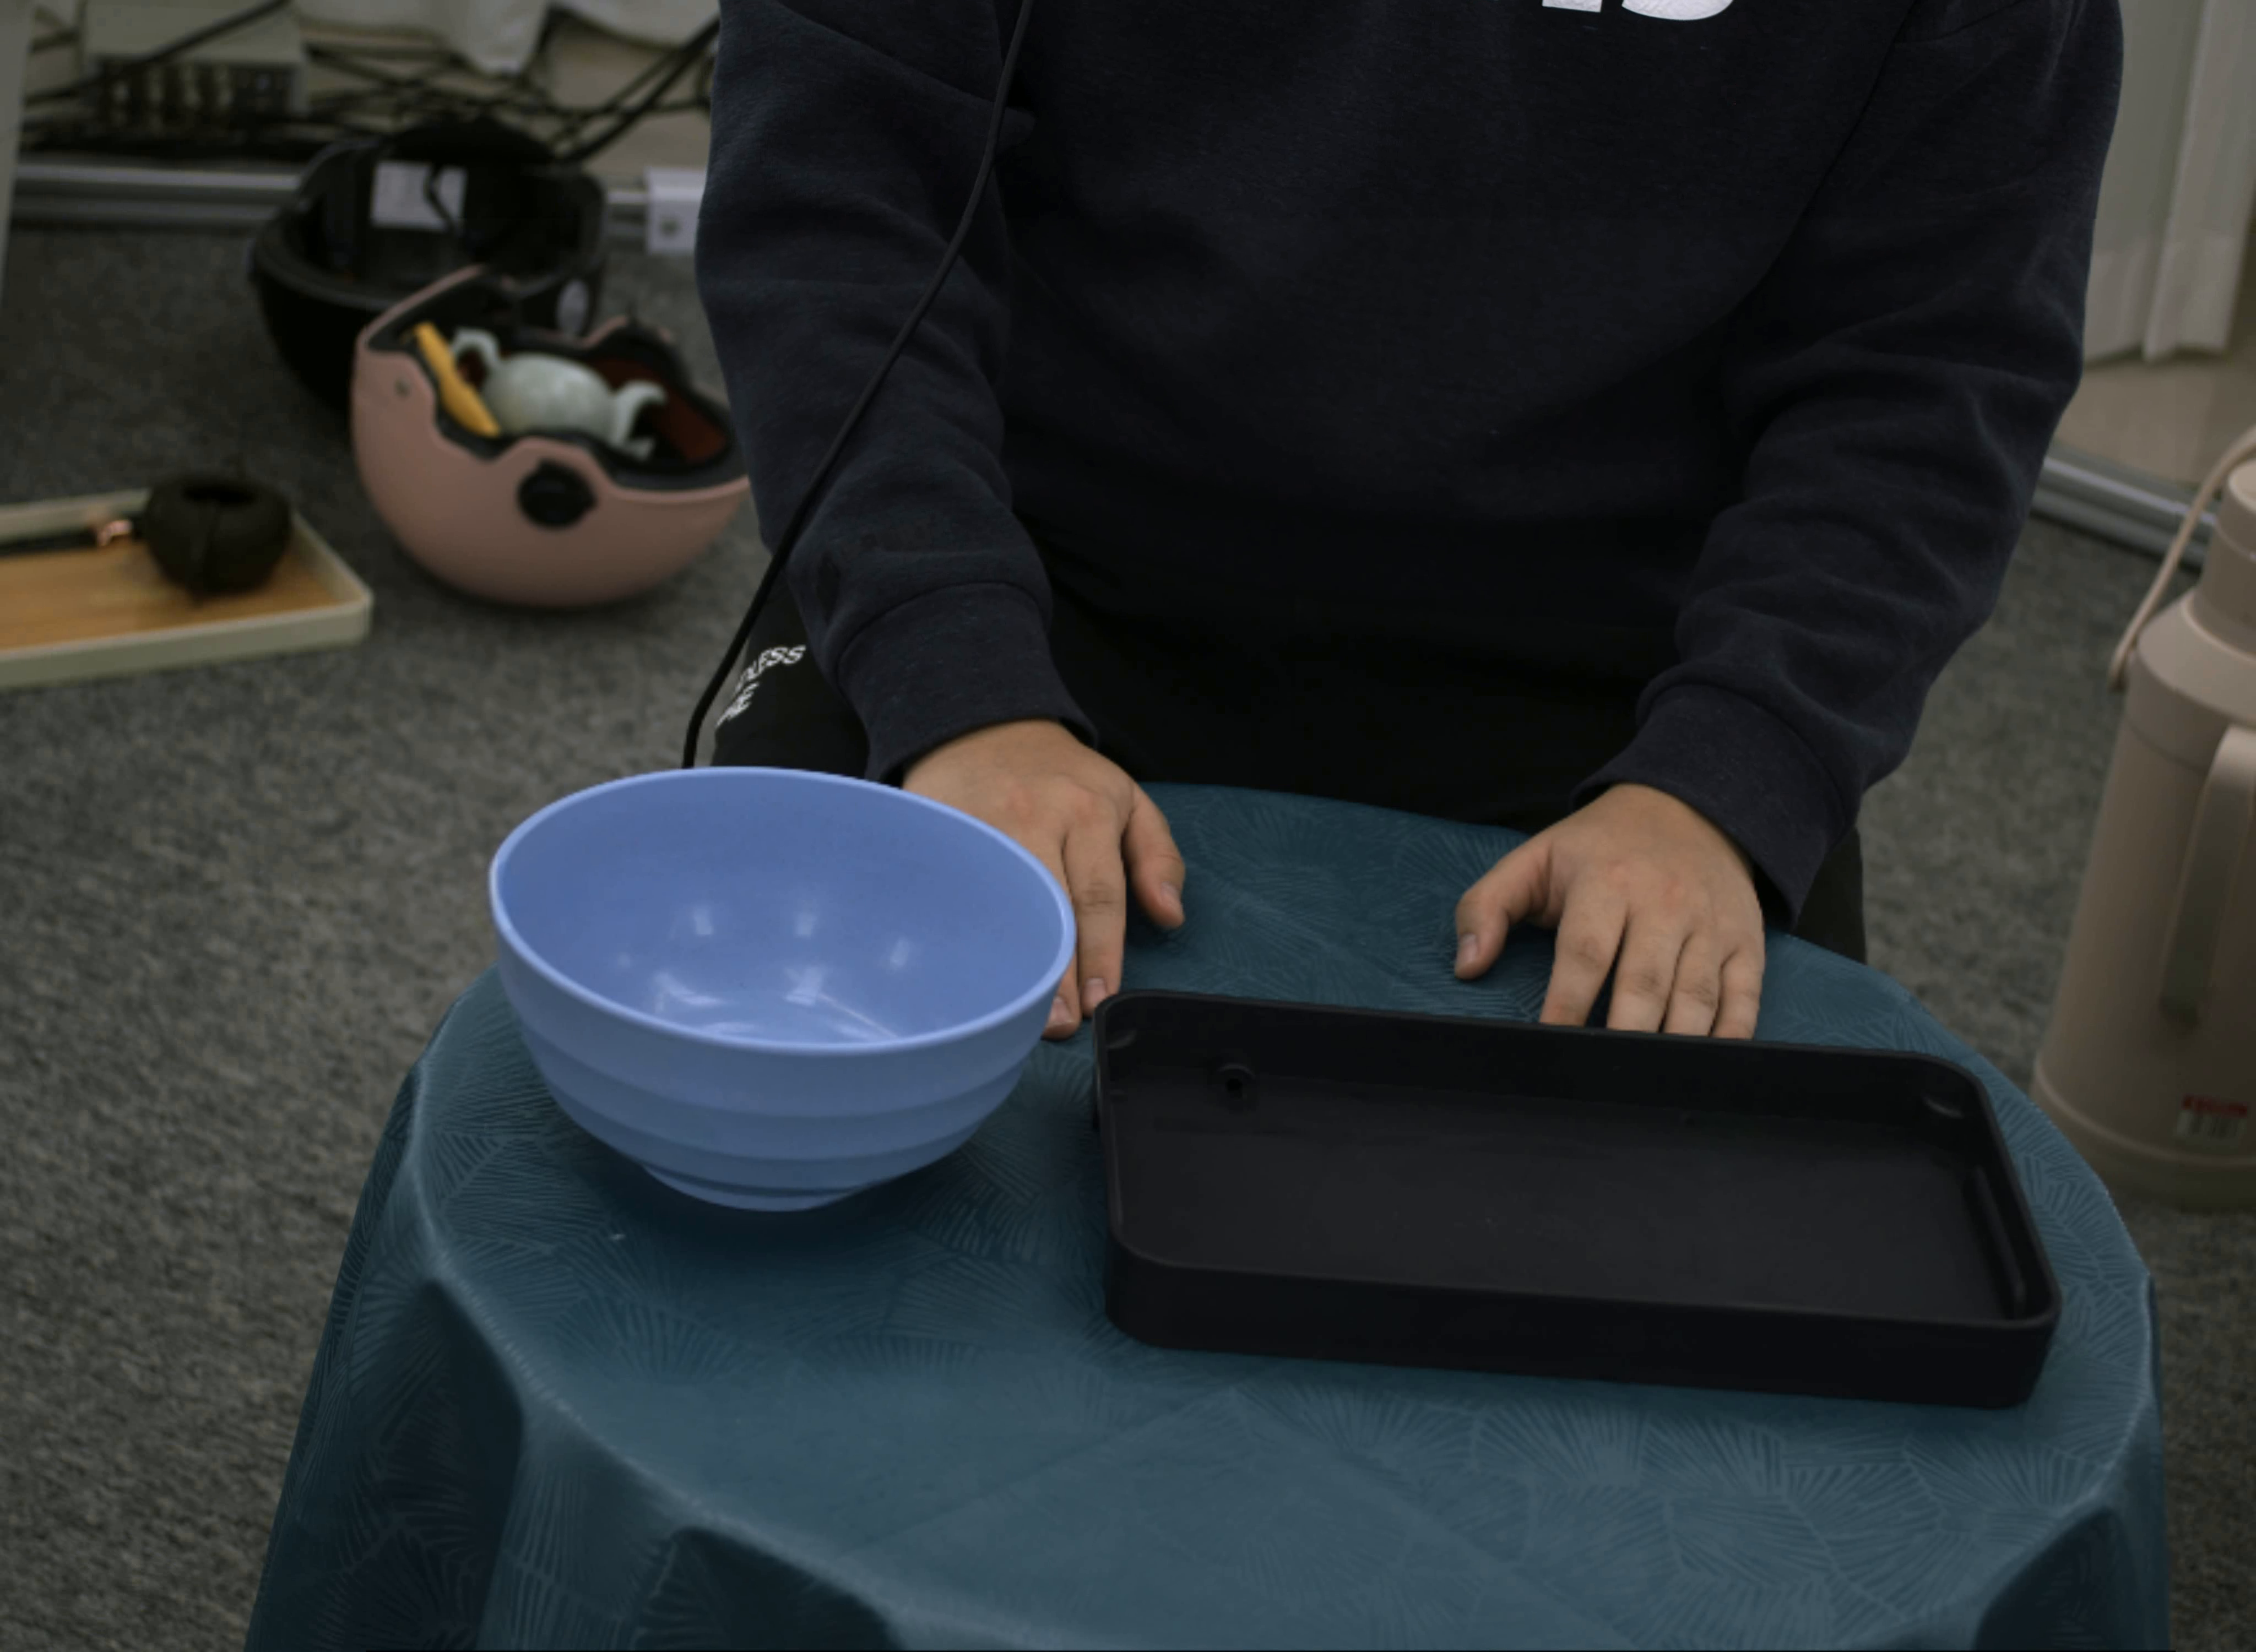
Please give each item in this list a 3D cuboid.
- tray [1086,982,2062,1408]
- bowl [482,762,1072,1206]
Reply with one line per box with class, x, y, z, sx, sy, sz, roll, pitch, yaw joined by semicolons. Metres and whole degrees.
tray;0.144;0.123;1.800;0.317;0.037;0.185;5;27;-4
bowl;-0.119;0.064;1.786;0.196;0.095;0.198;4;28;-2
